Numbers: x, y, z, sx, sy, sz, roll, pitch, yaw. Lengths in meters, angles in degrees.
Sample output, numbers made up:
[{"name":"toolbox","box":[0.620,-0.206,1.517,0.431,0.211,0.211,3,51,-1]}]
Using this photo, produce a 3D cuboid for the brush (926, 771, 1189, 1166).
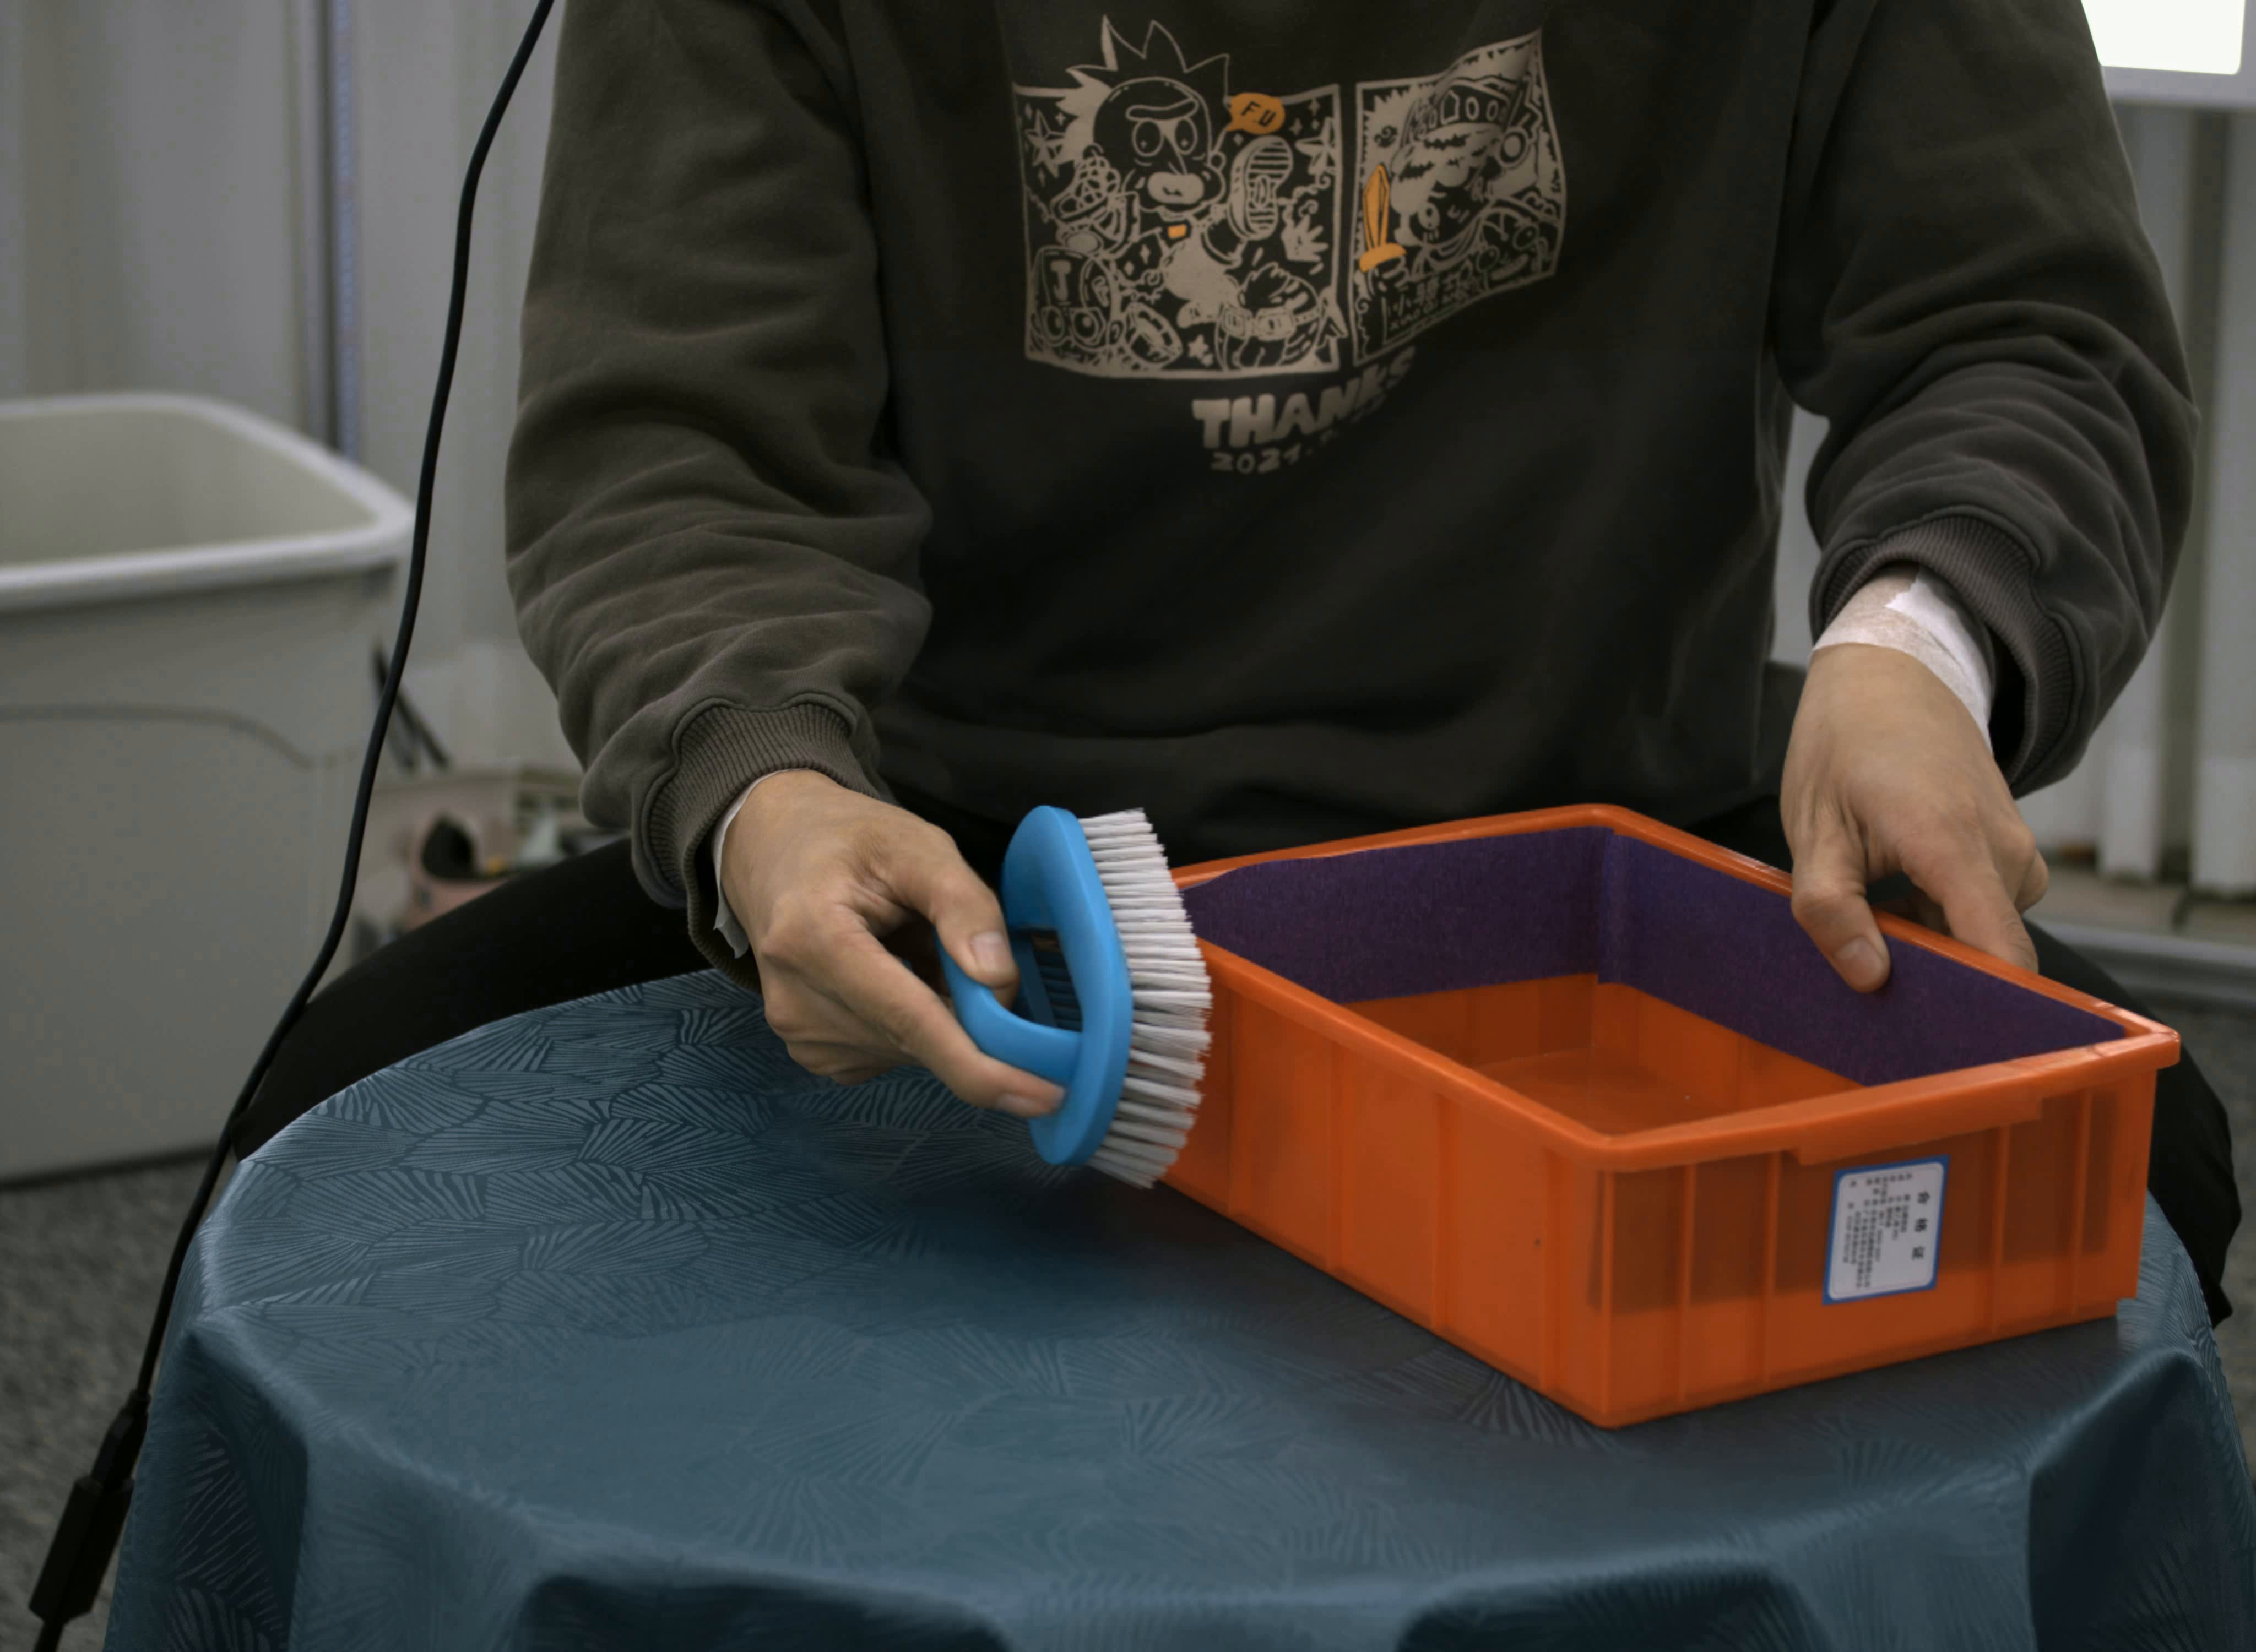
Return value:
[{"name":"brush","box":[-0.027,0.043,1.592,0.064,0.085,0.140,7,35,-17]}]

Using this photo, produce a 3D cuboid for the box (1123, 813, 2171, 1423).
[{"name":"box","box":[0.140,0.082,1.585,0.207,0.097,0.299,-8,18,-29]}]
